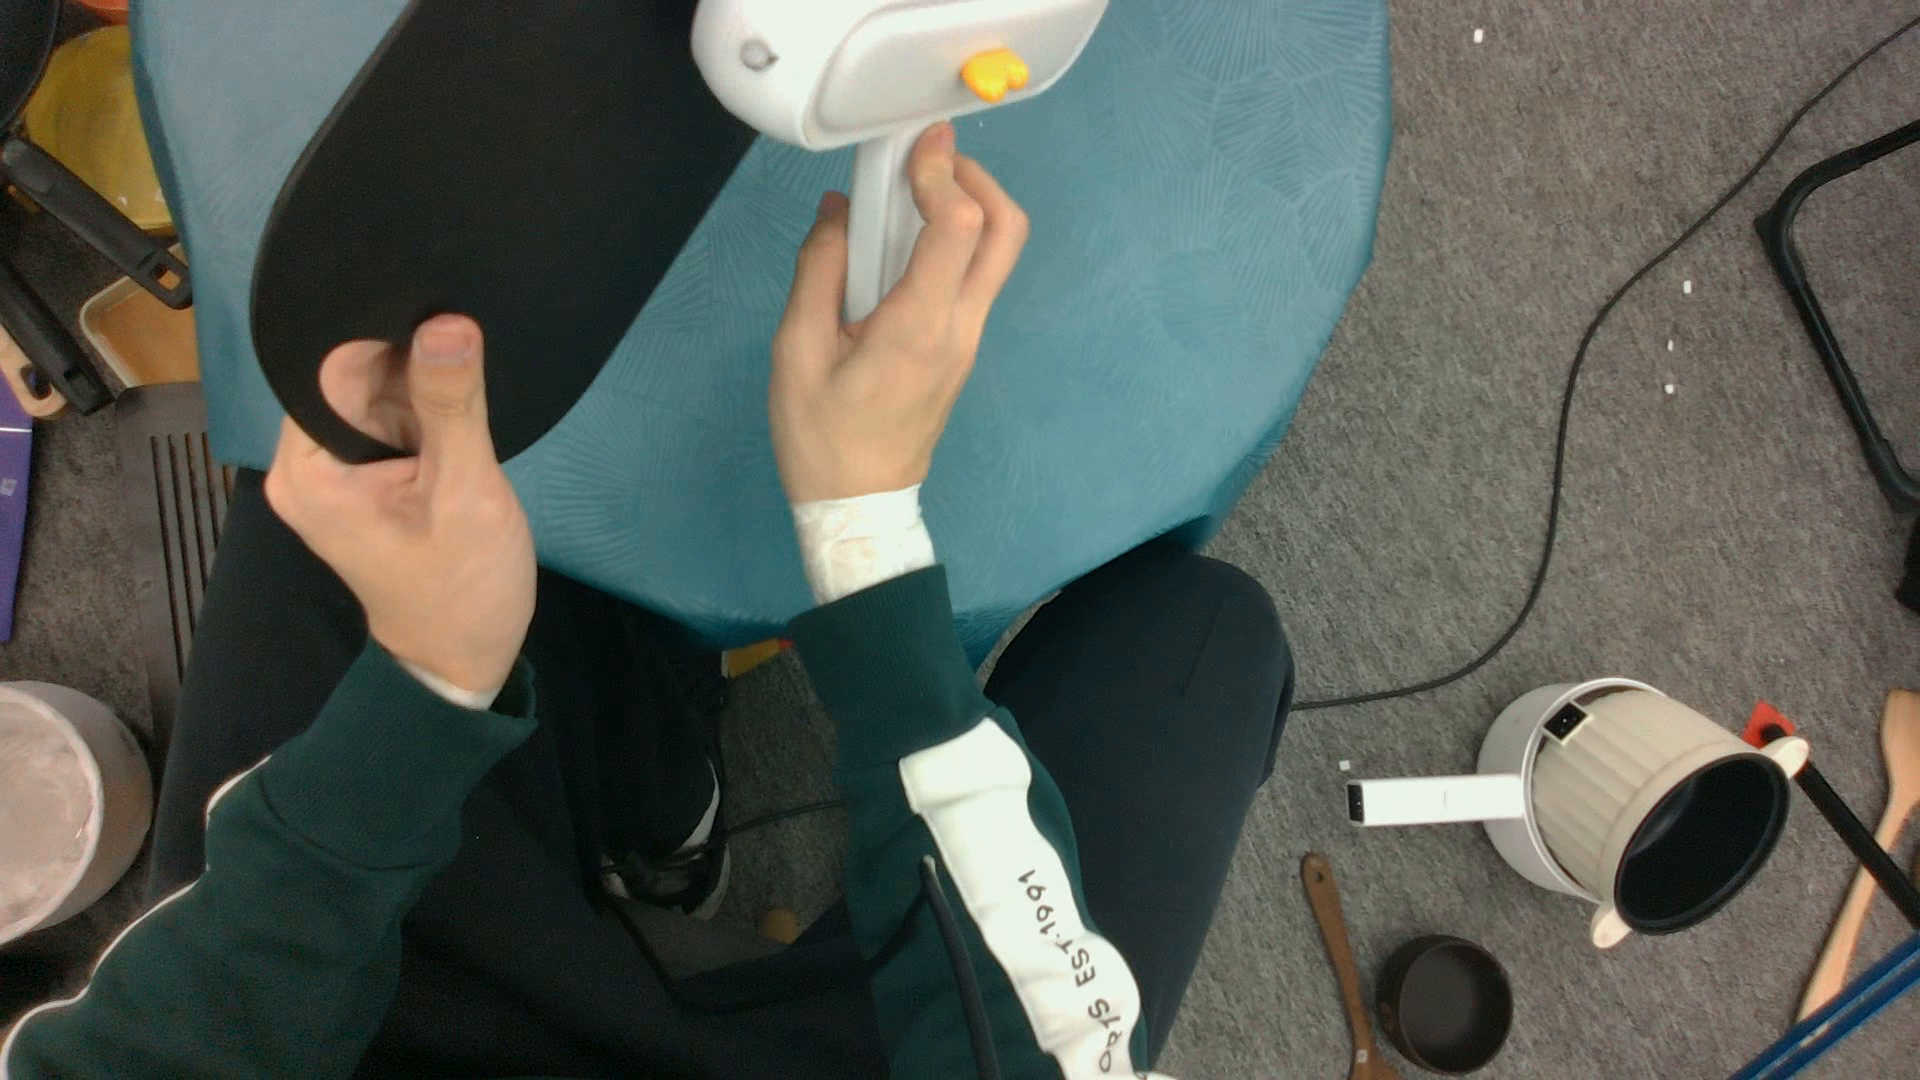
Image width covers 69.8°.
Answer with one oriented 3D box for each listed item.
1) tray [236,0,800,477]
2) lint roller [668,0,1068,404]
[{"bbox_3d":[-0.110,-0.164,0.444,0.010,0.211,0.325,30,85,6],"label":"tray"},{"bbox_3d":[-0.036,-0.138,0.516,0.074,0.191,0.194,33,41,8],"label":"lint roller"}]
